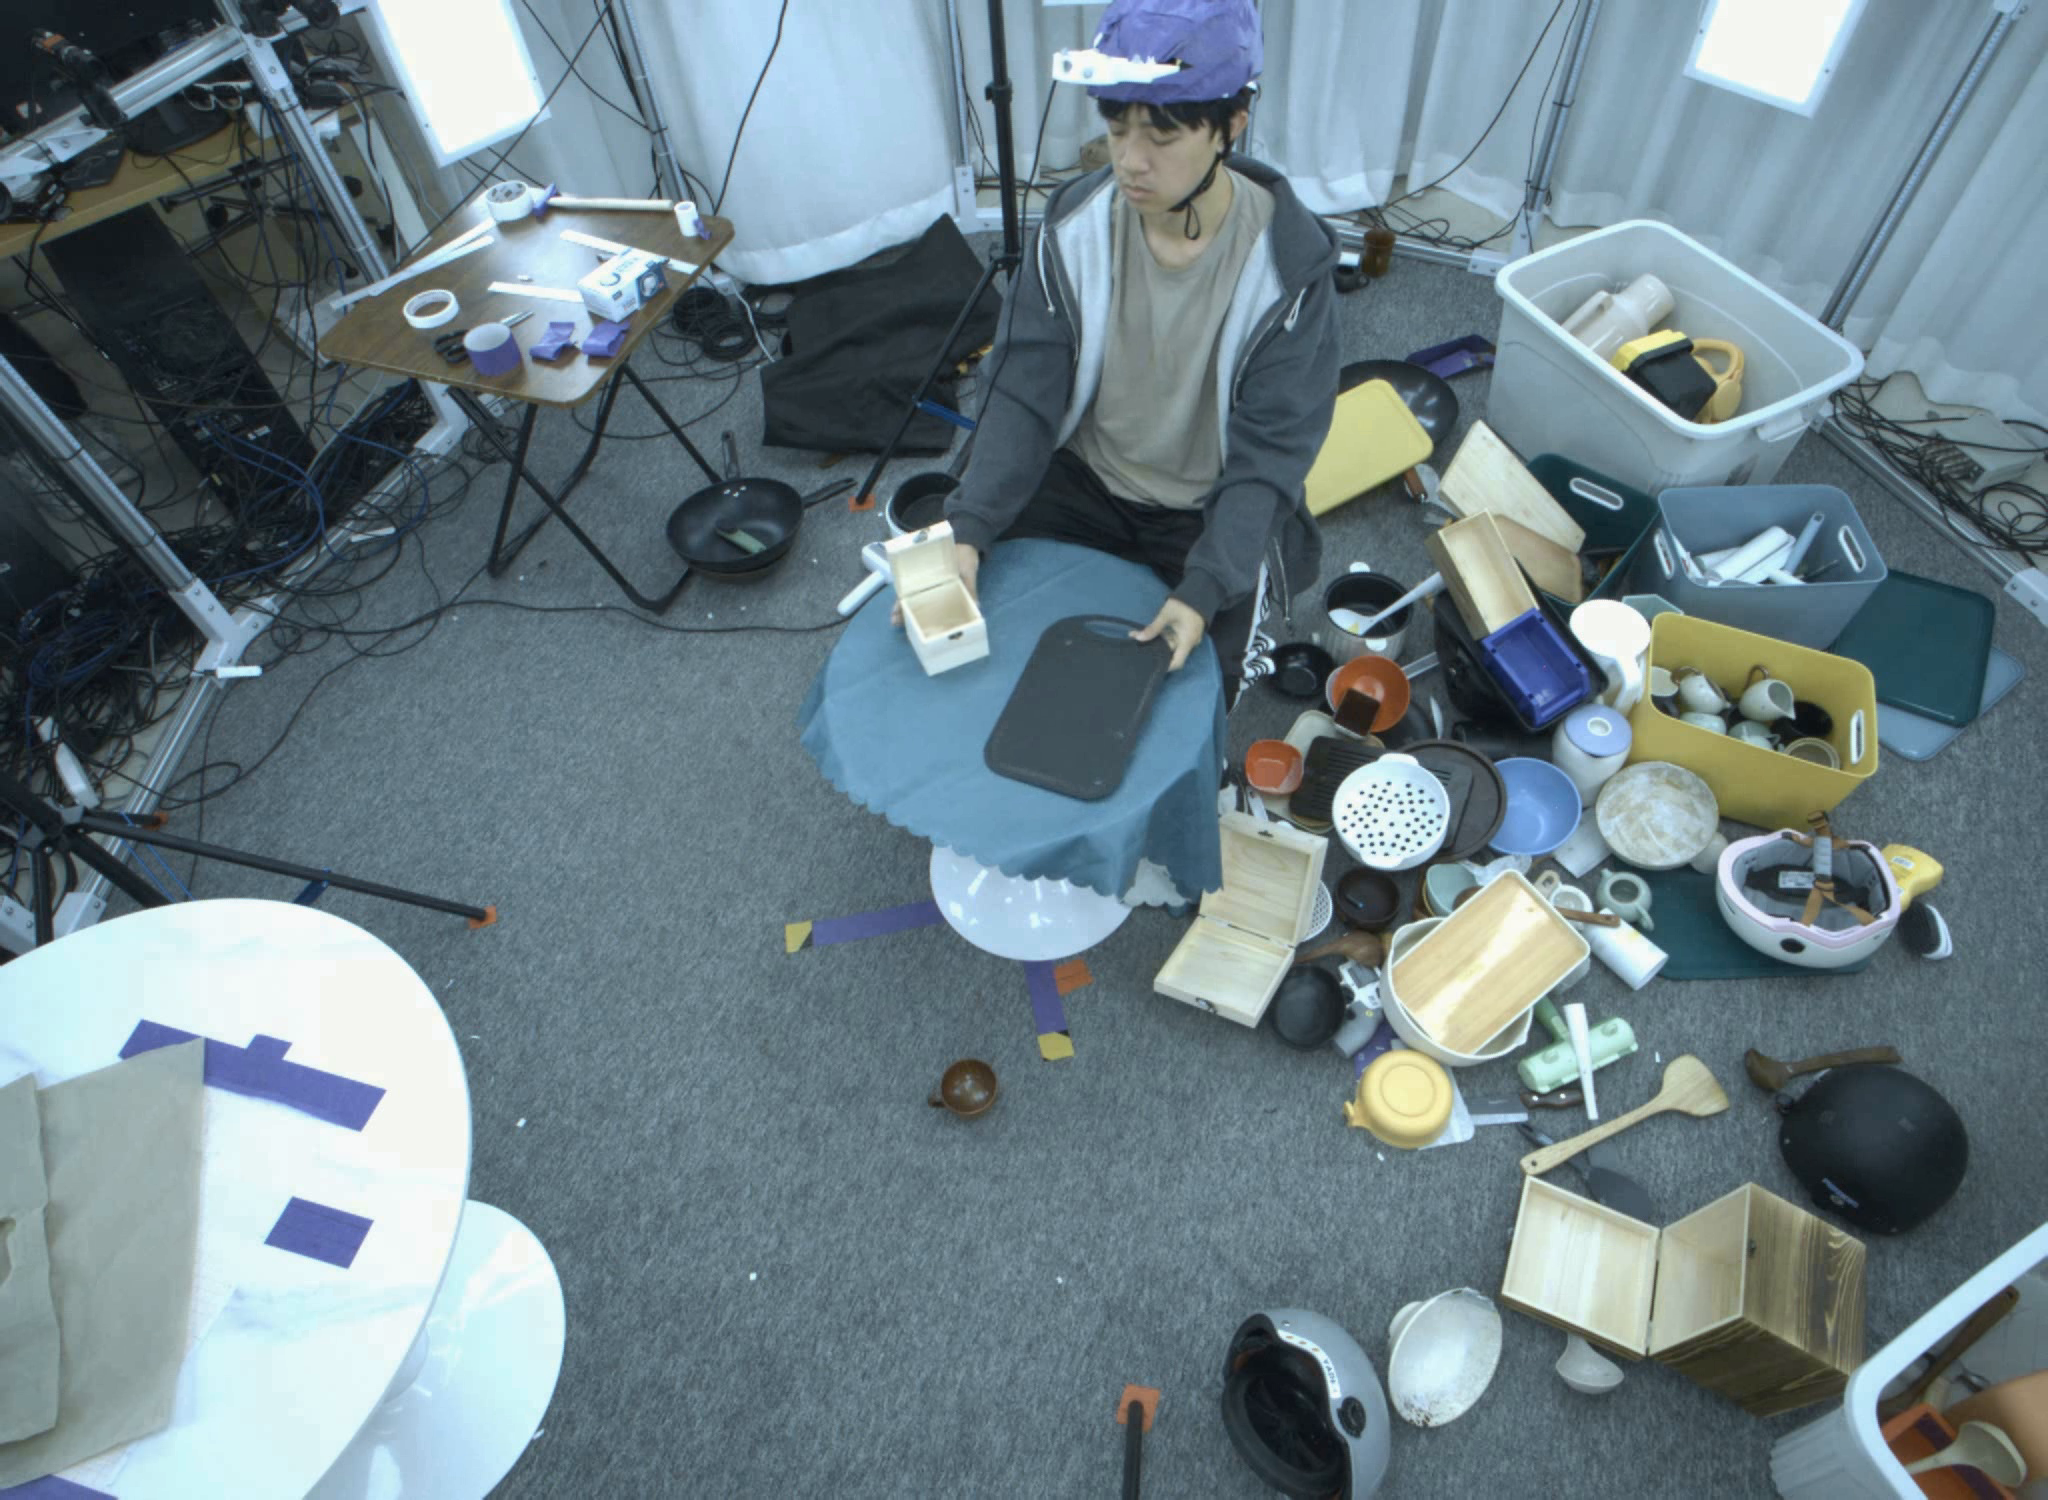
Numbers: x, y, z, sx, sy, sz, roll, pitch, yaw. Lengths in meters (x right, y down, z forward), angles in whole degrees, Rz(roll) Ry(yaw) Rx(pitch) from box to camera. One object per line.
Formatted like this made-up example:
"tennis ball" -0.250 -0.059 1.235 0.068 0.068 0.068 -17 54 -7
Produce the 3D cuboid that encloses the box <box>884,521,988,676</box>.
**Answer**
"box" -0.130 -0.227 1.842 0.103 0.186 0.131 -22 55 -11

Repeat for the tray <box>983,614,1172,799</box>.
"tray" 0.084 -0.078 1.824 0.208 0.010 0.325 17 60 16
